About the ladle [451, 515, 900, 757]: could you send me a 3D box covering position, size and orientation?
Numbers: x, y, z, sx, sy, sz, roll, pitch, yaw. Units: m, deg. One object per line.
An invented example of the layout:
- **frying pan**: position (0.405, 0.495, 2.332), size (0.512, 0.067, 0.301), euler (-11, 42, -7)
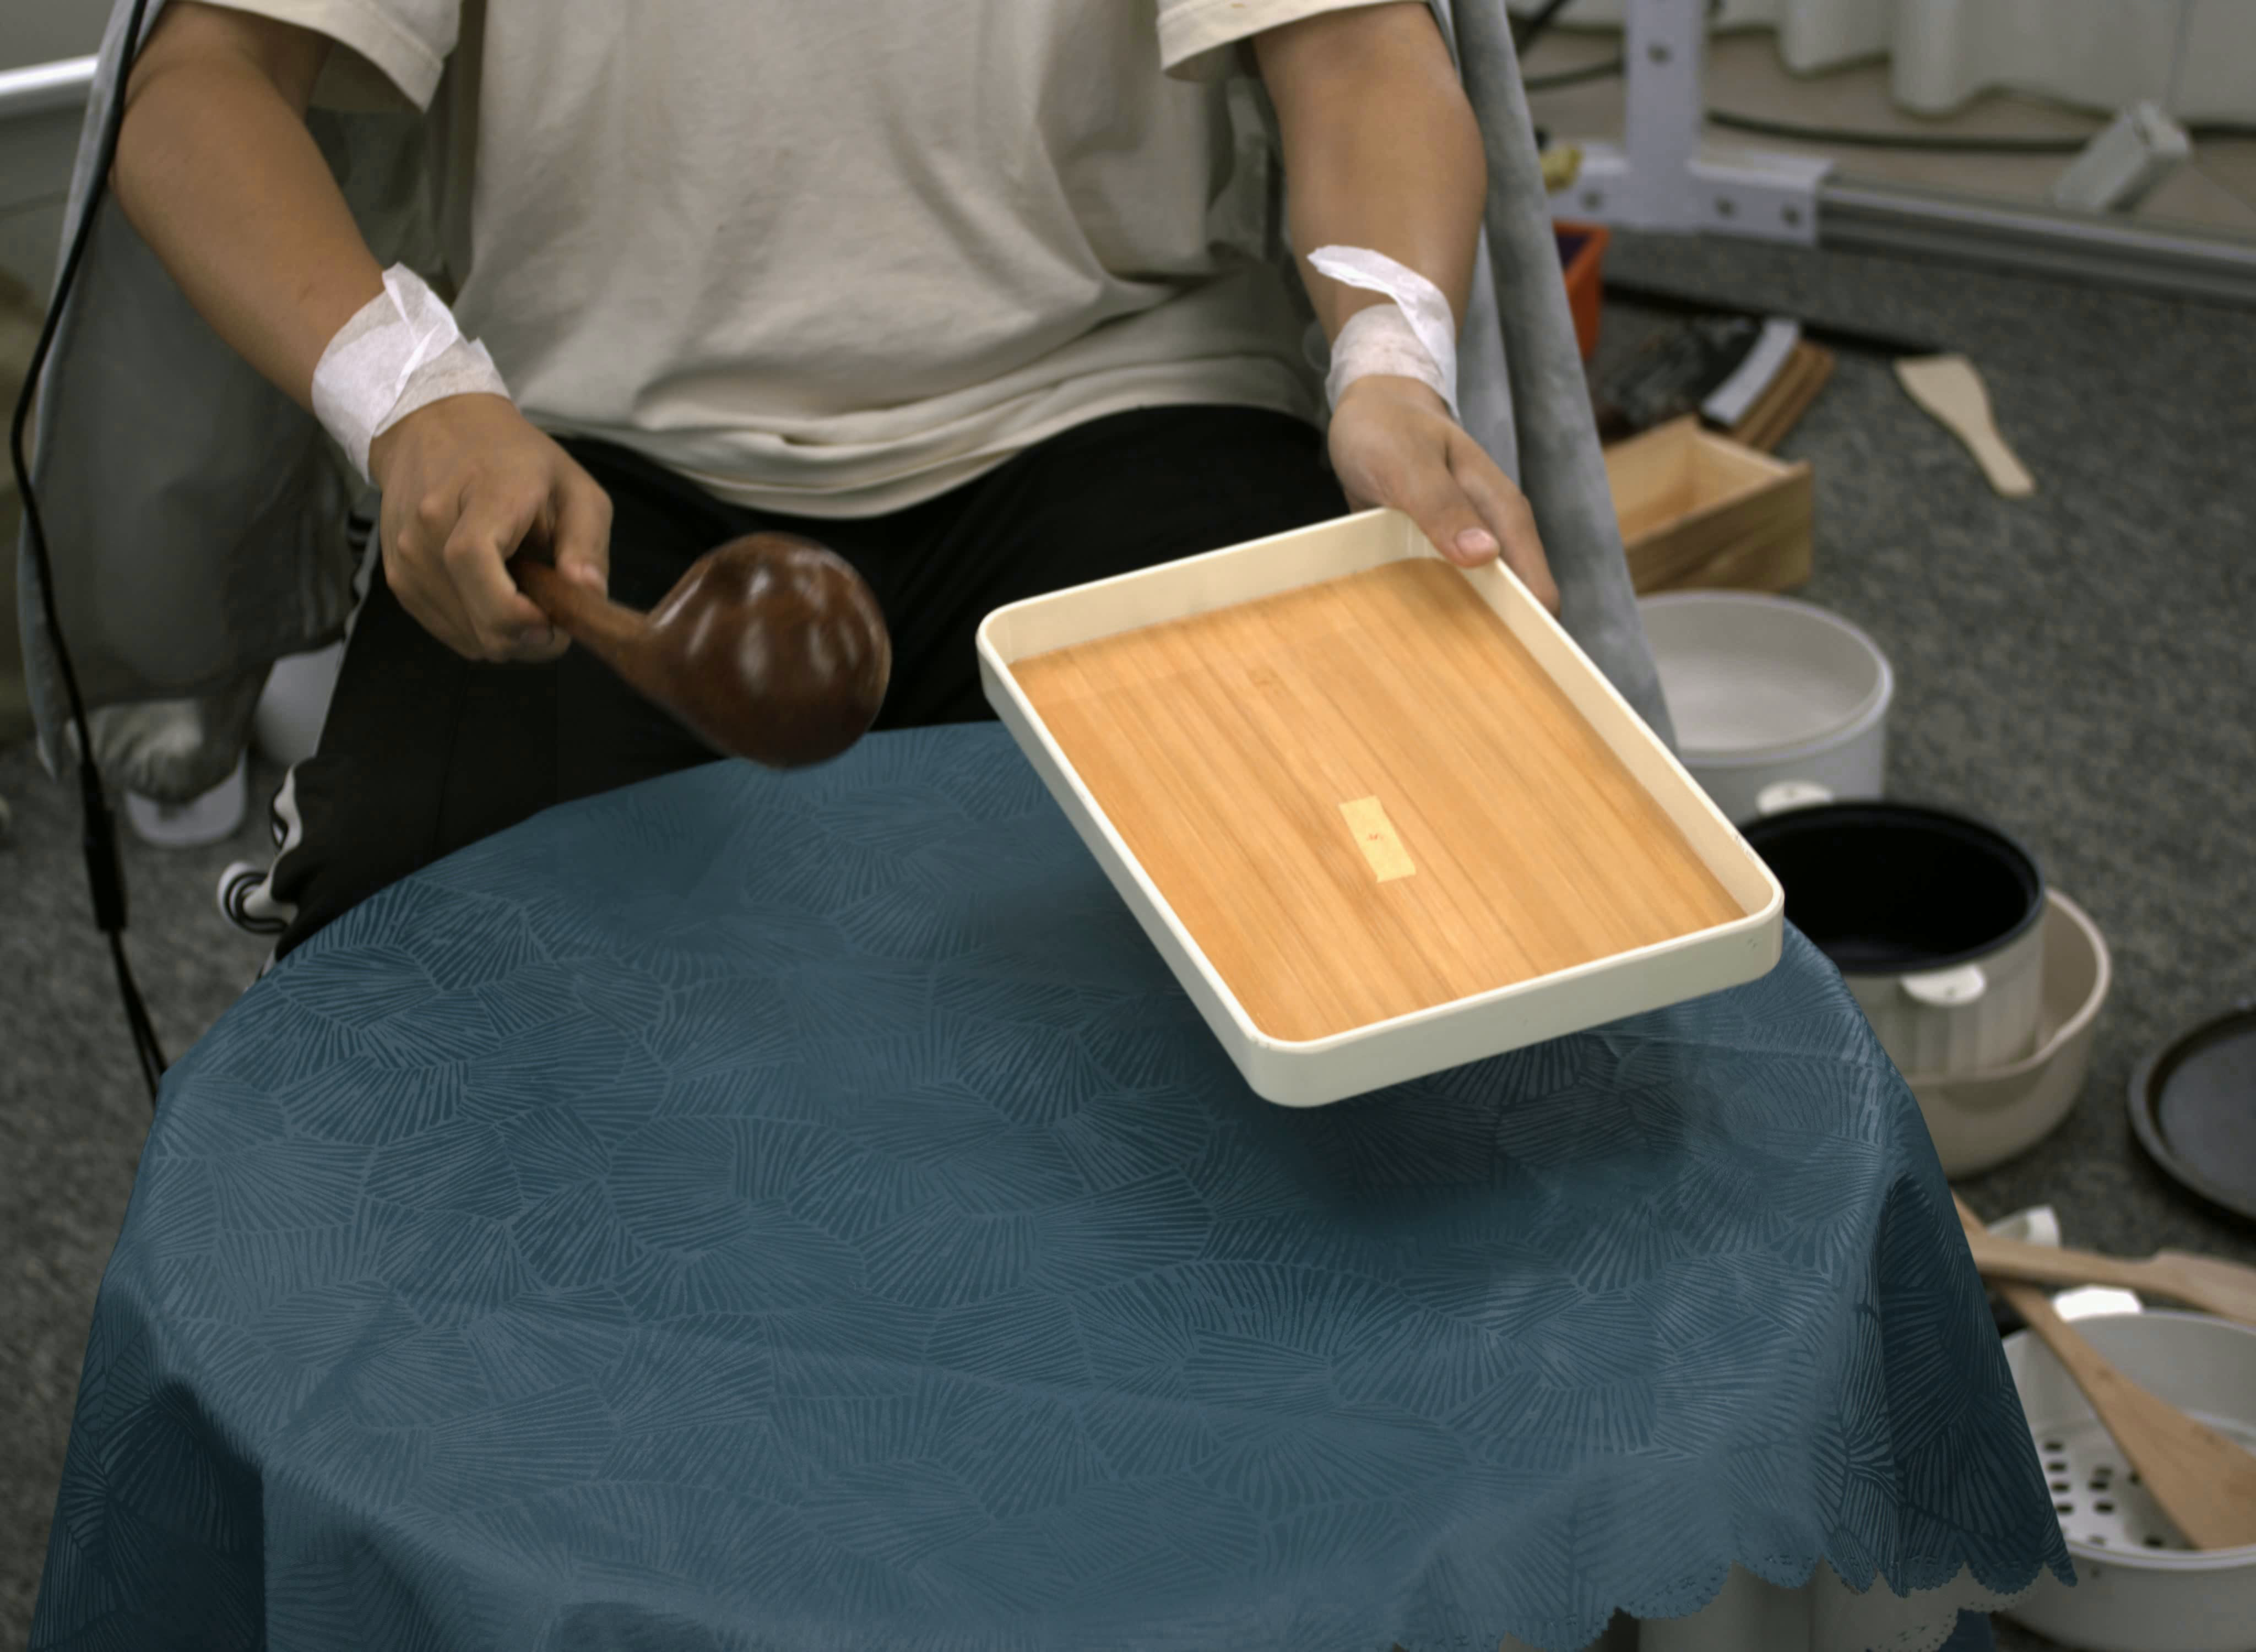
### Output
- **ladle**: position (-0.162, -0.078, 1.985), size (0.077, 0.082, 0.273), euler (-4, 10, -24)

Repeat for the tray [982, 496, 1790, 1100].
- **tray**: position (0.083, -0.016, 1.935), size (0.192, 0.027, 0.303), euler (-15, 34, -14)
